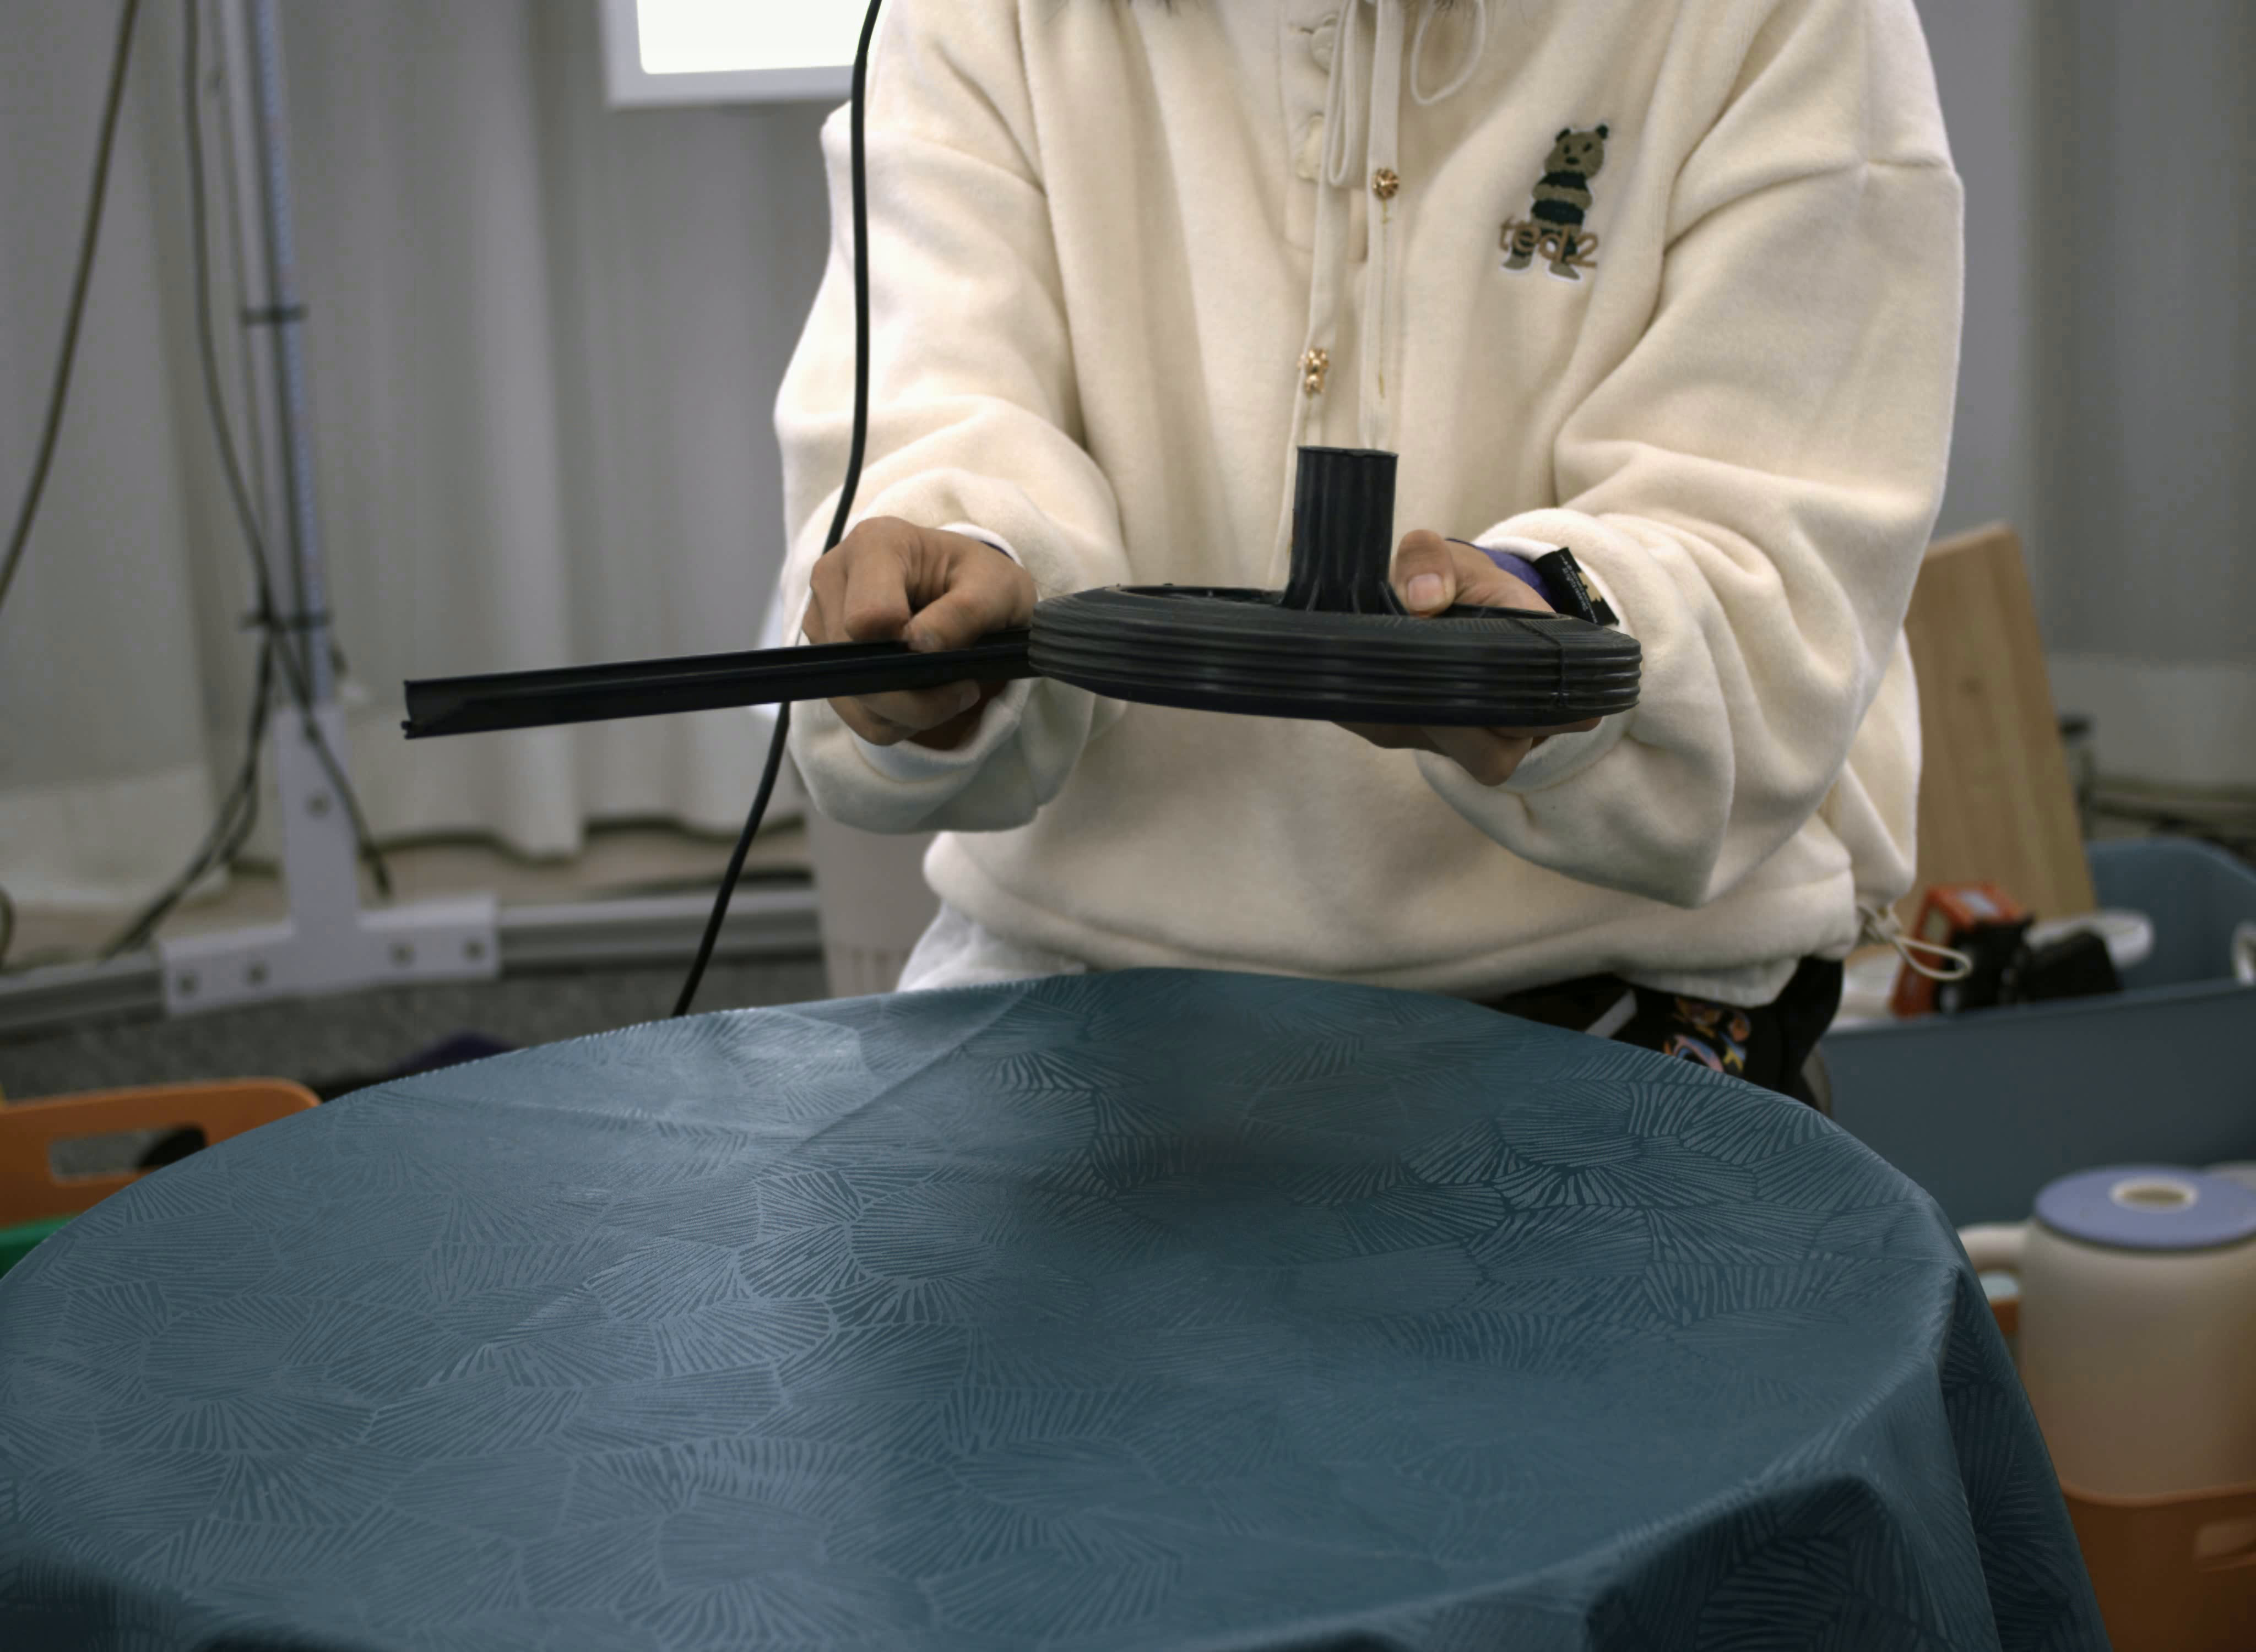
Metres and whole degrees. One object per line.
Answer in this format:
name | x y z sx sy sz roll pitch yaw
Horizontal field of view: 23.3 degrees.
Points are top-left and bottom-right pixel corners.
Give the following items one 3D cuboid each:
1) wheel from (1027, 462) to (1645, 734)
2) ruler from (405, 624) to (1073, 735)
wheel | 0.065 -0.071 1.676 0.189 0.079 0.188 4 4 -7
ruler | -0.098 -0.050 1.646 0.039 0.017 0.311 -20 -8 37
